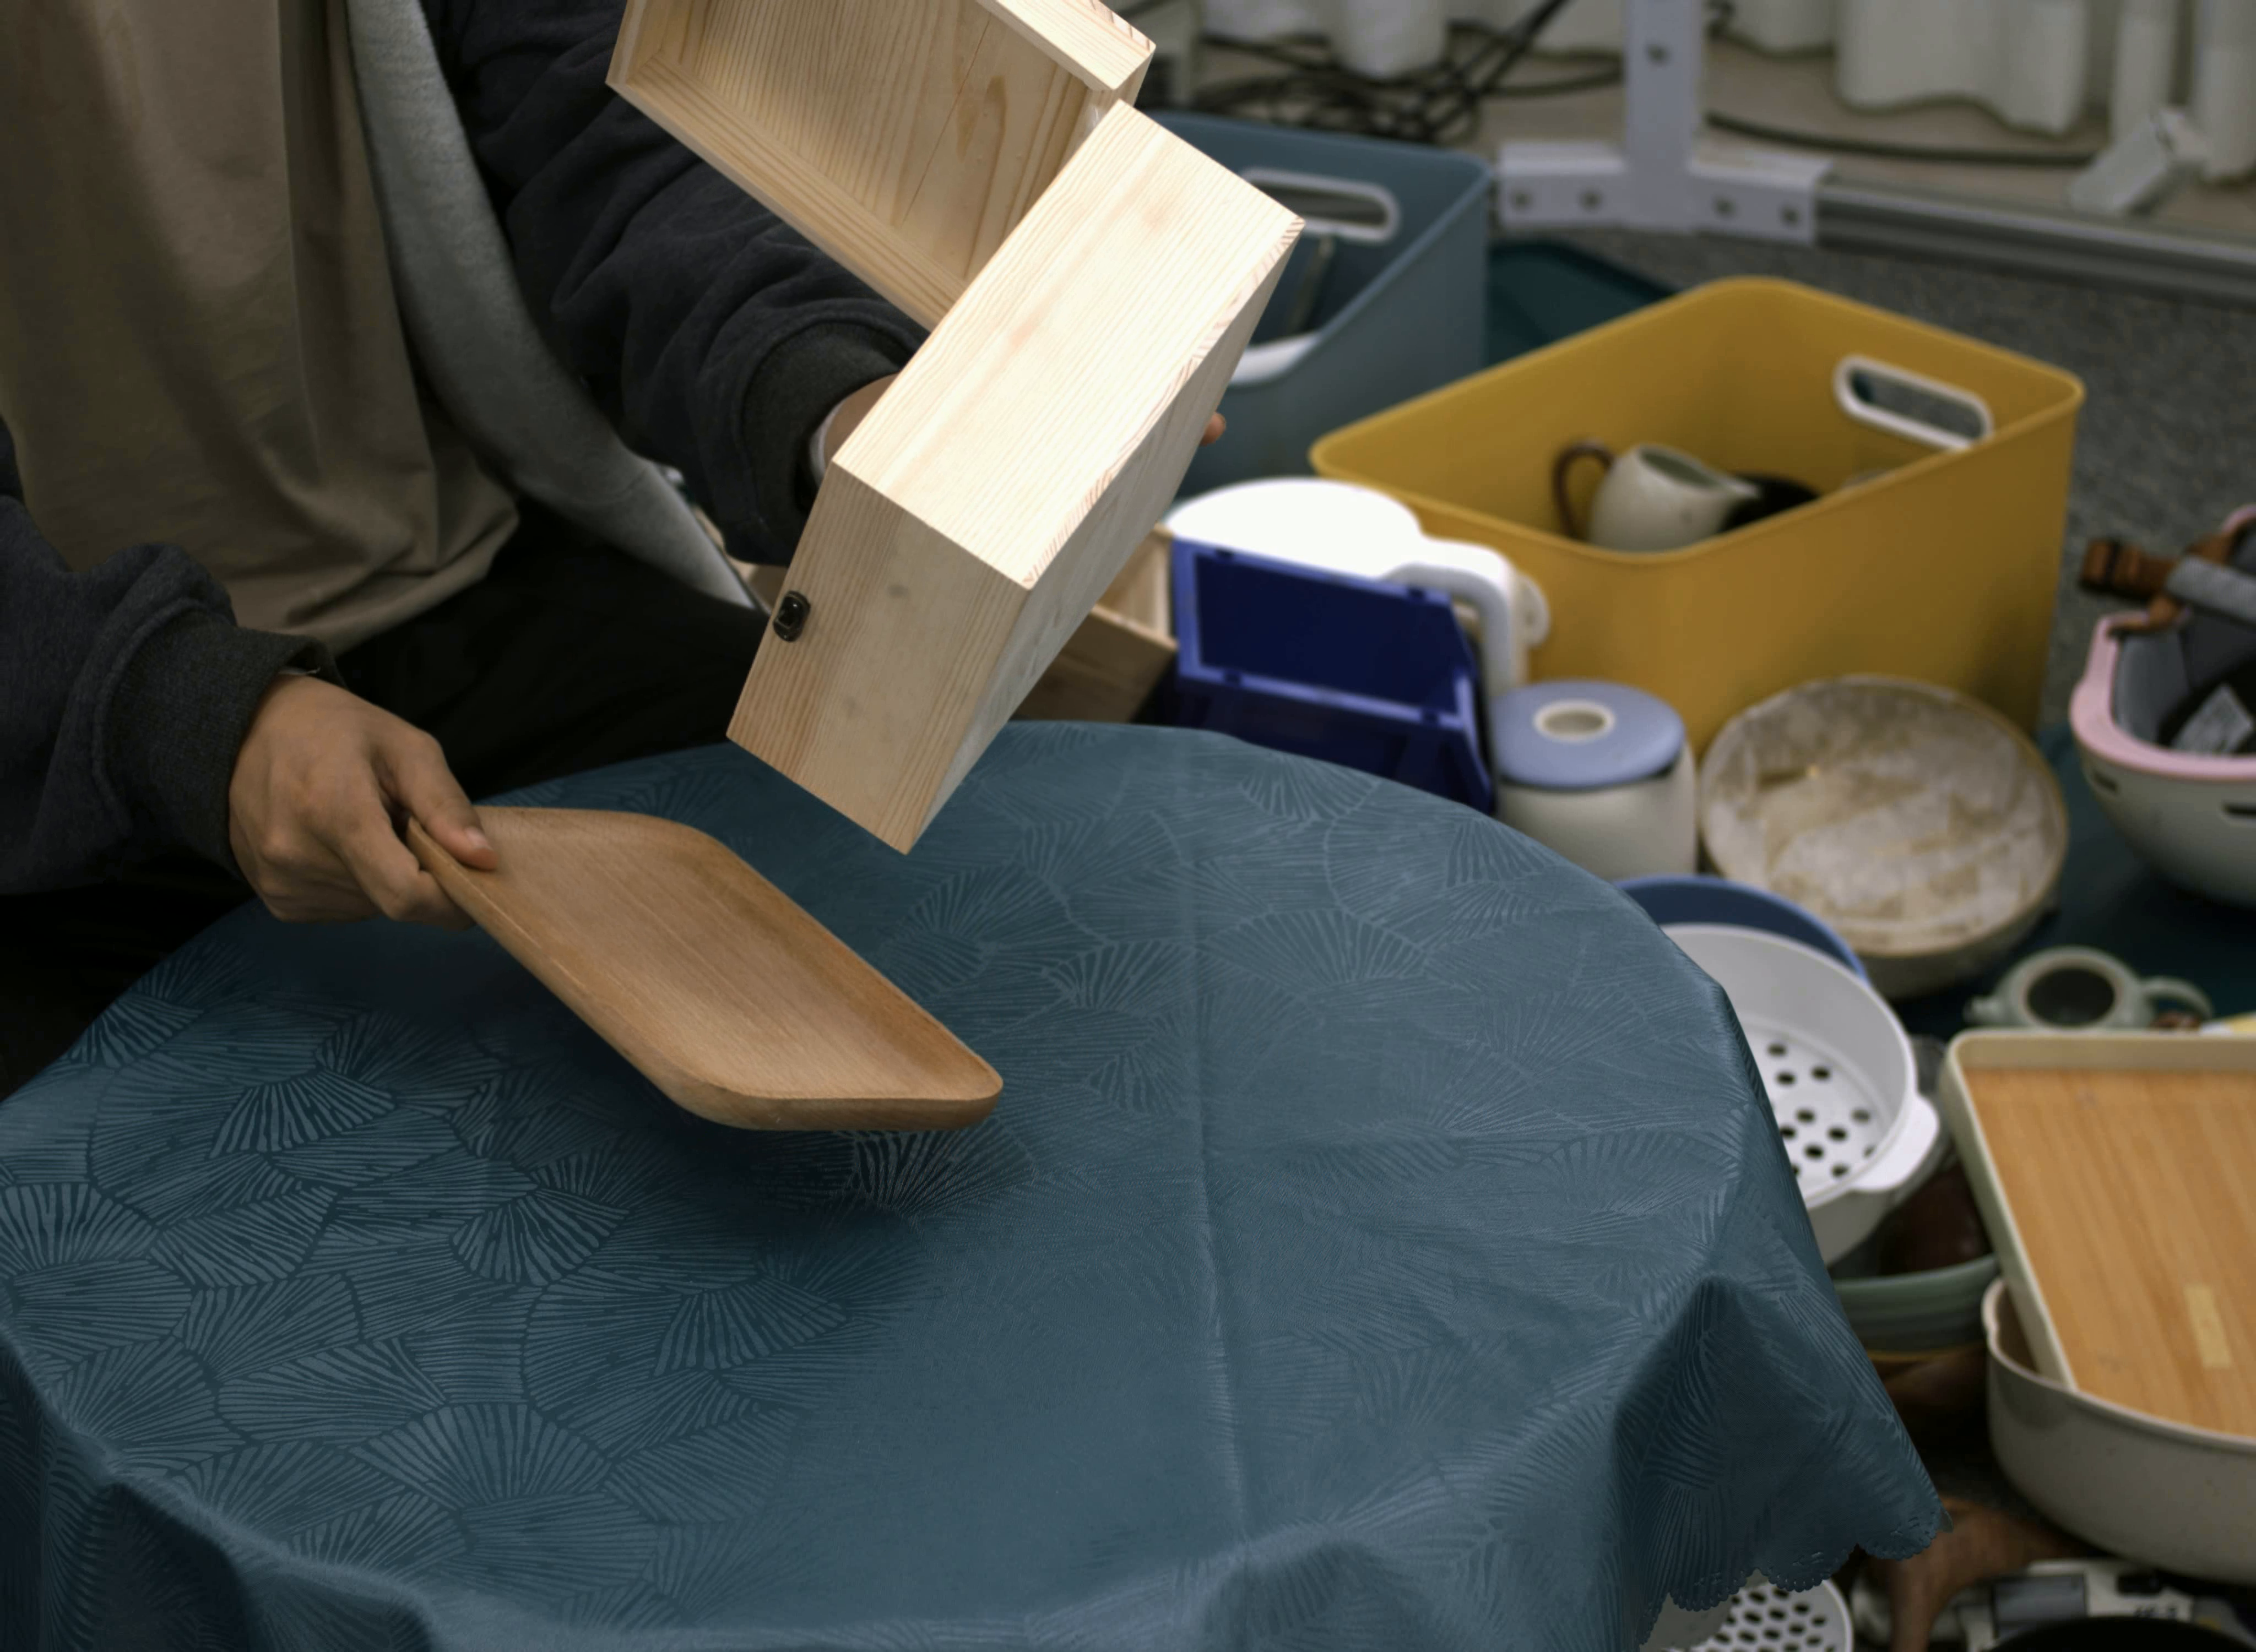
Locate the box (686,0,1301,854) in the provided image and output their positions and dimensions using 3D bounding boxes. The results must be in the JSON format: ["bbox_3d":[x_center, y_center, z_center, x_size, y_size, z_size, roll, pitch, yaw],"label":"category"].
[{"bbox_3d":[-0.091,-0.185,1.896,0.253,0.178,0.270,33,56,7],"label":"box"}]

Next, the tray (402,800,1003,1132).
[{"bbox_3d":[-0.149,0.047,1.918,0.131,0.023,0.251,6,18,-35],"label":"tray"}]
